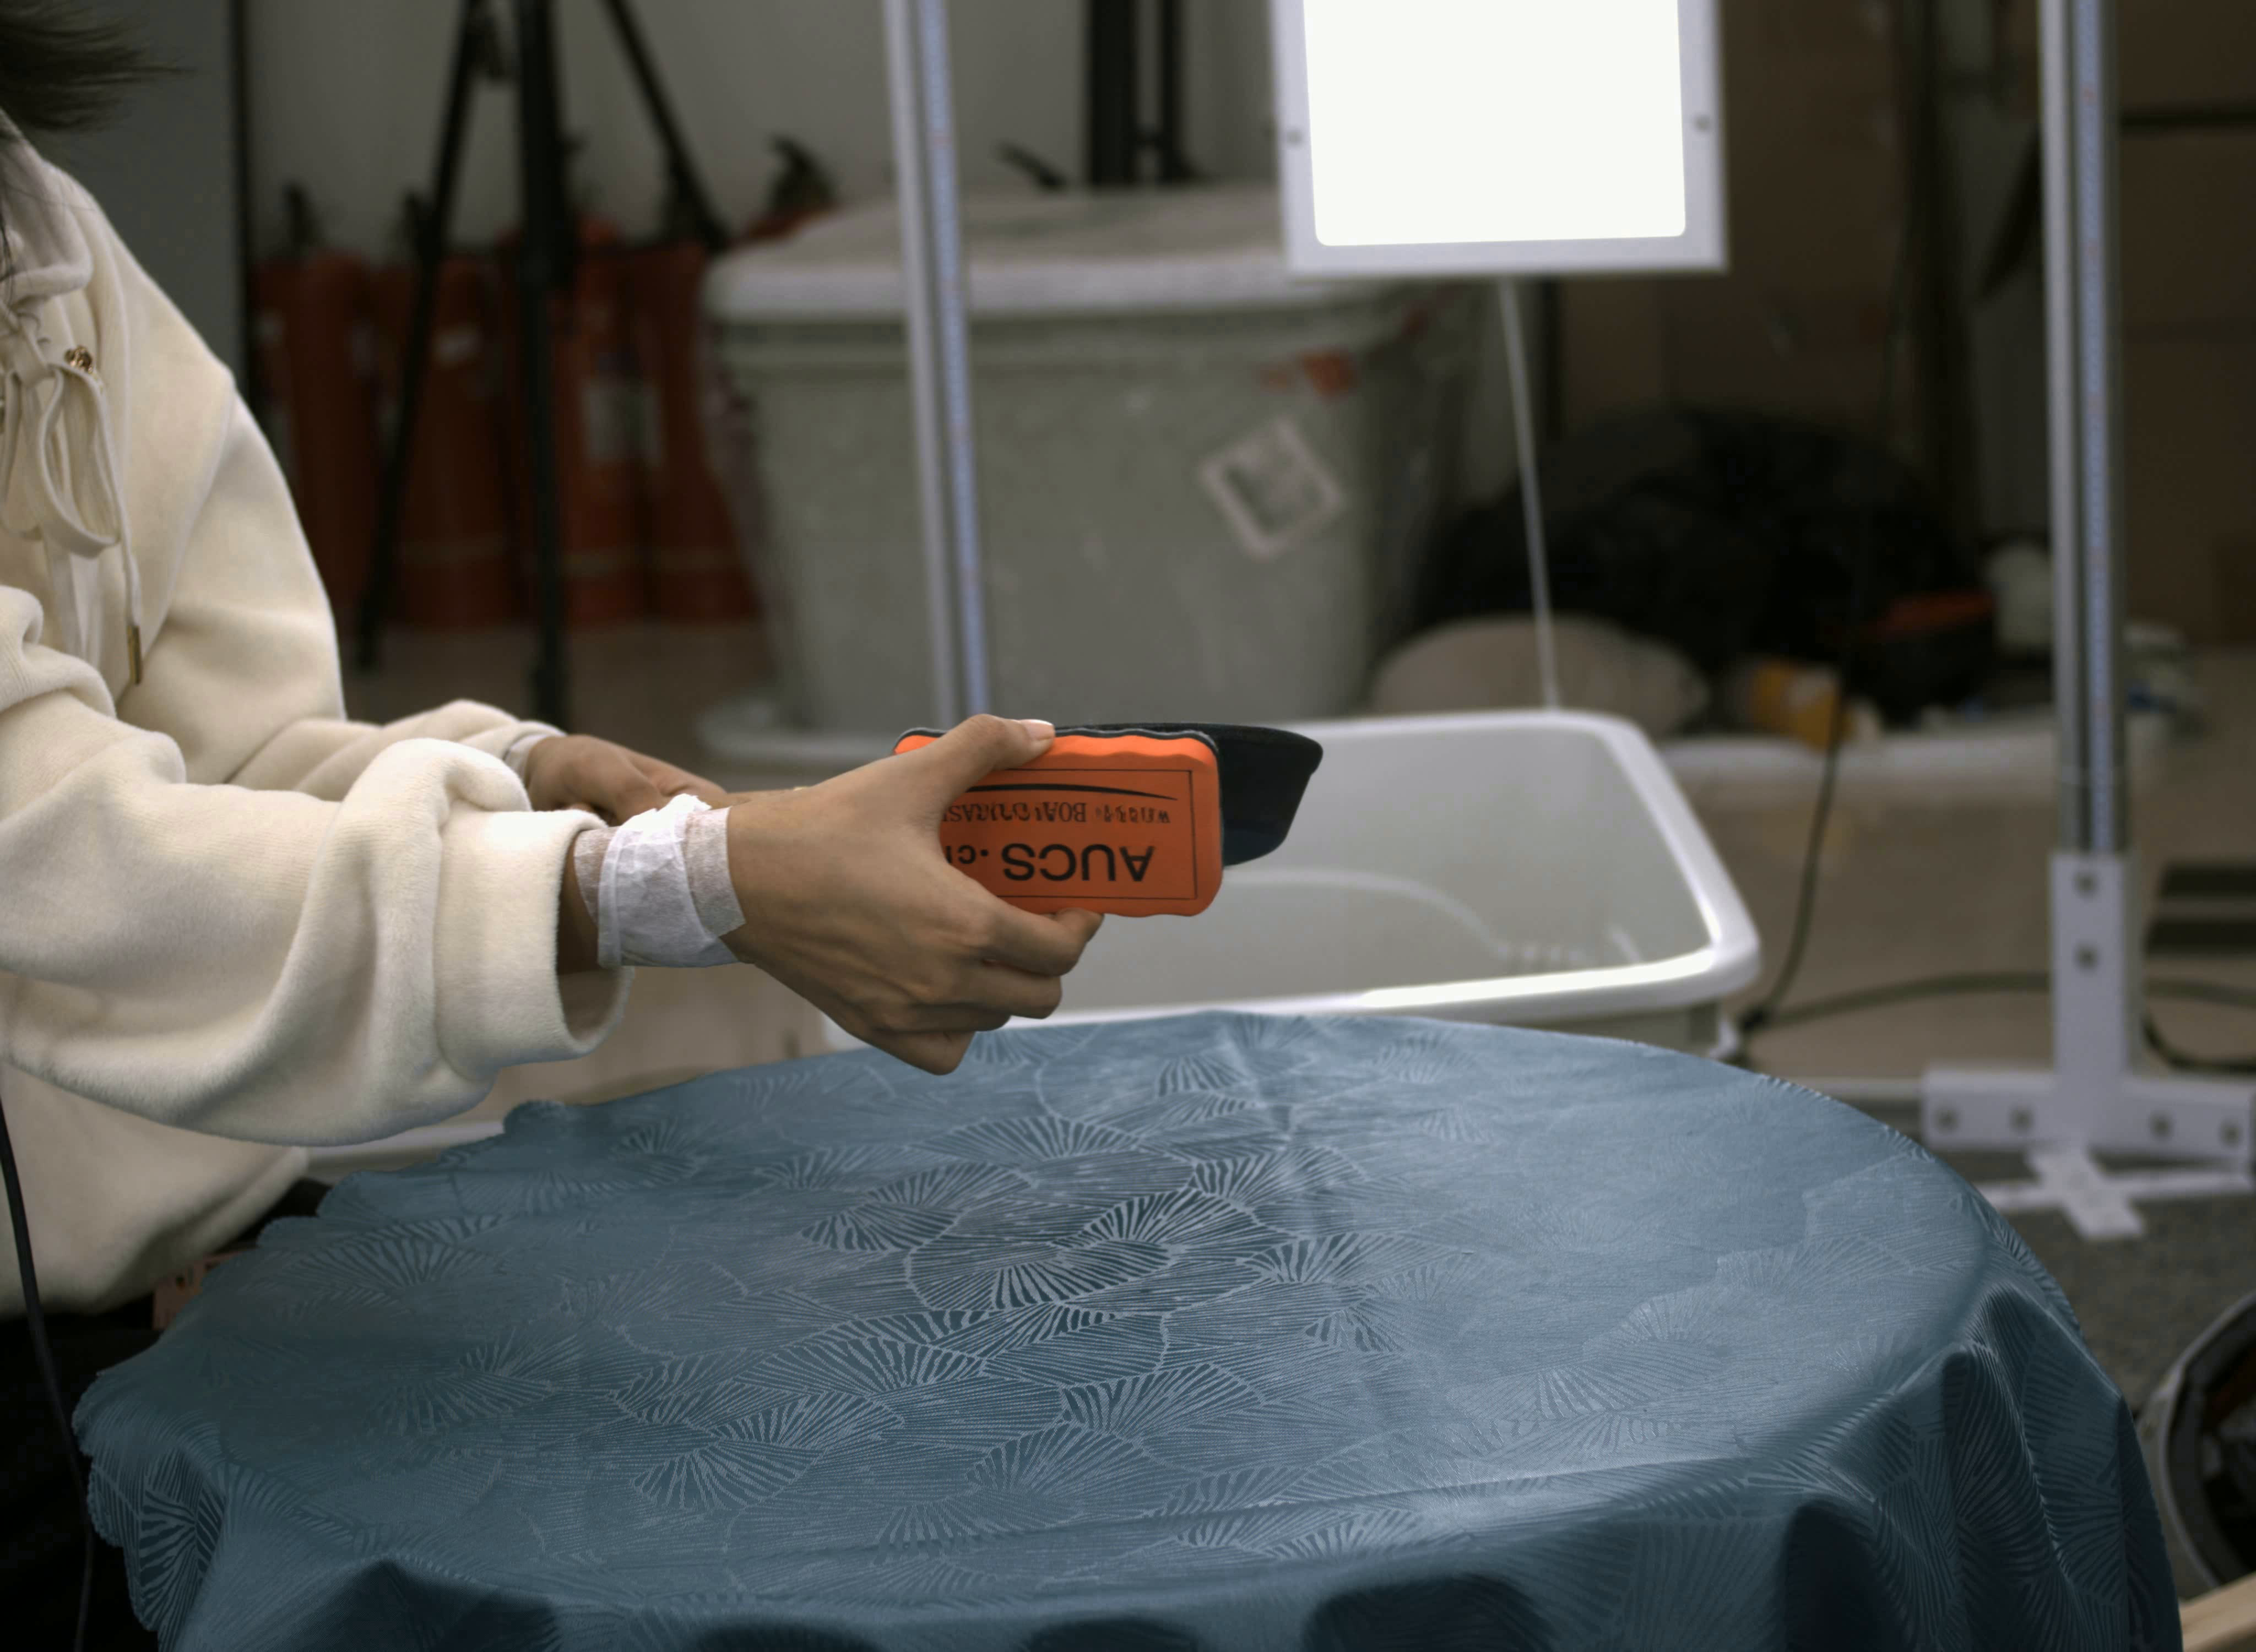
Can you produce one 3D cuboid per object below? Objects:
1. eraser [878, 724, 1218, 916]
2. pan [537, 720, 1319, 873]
[{"bbox_3d":[-0.025,-0.002,1.775,0.109,0.059,0.022,1,22,12],"label":"eraser"},{"bbox_3d":[-0.080,-0.002,1.905,0.331,0.049,0.165,-9,-11,38],"label":"pan"}]
